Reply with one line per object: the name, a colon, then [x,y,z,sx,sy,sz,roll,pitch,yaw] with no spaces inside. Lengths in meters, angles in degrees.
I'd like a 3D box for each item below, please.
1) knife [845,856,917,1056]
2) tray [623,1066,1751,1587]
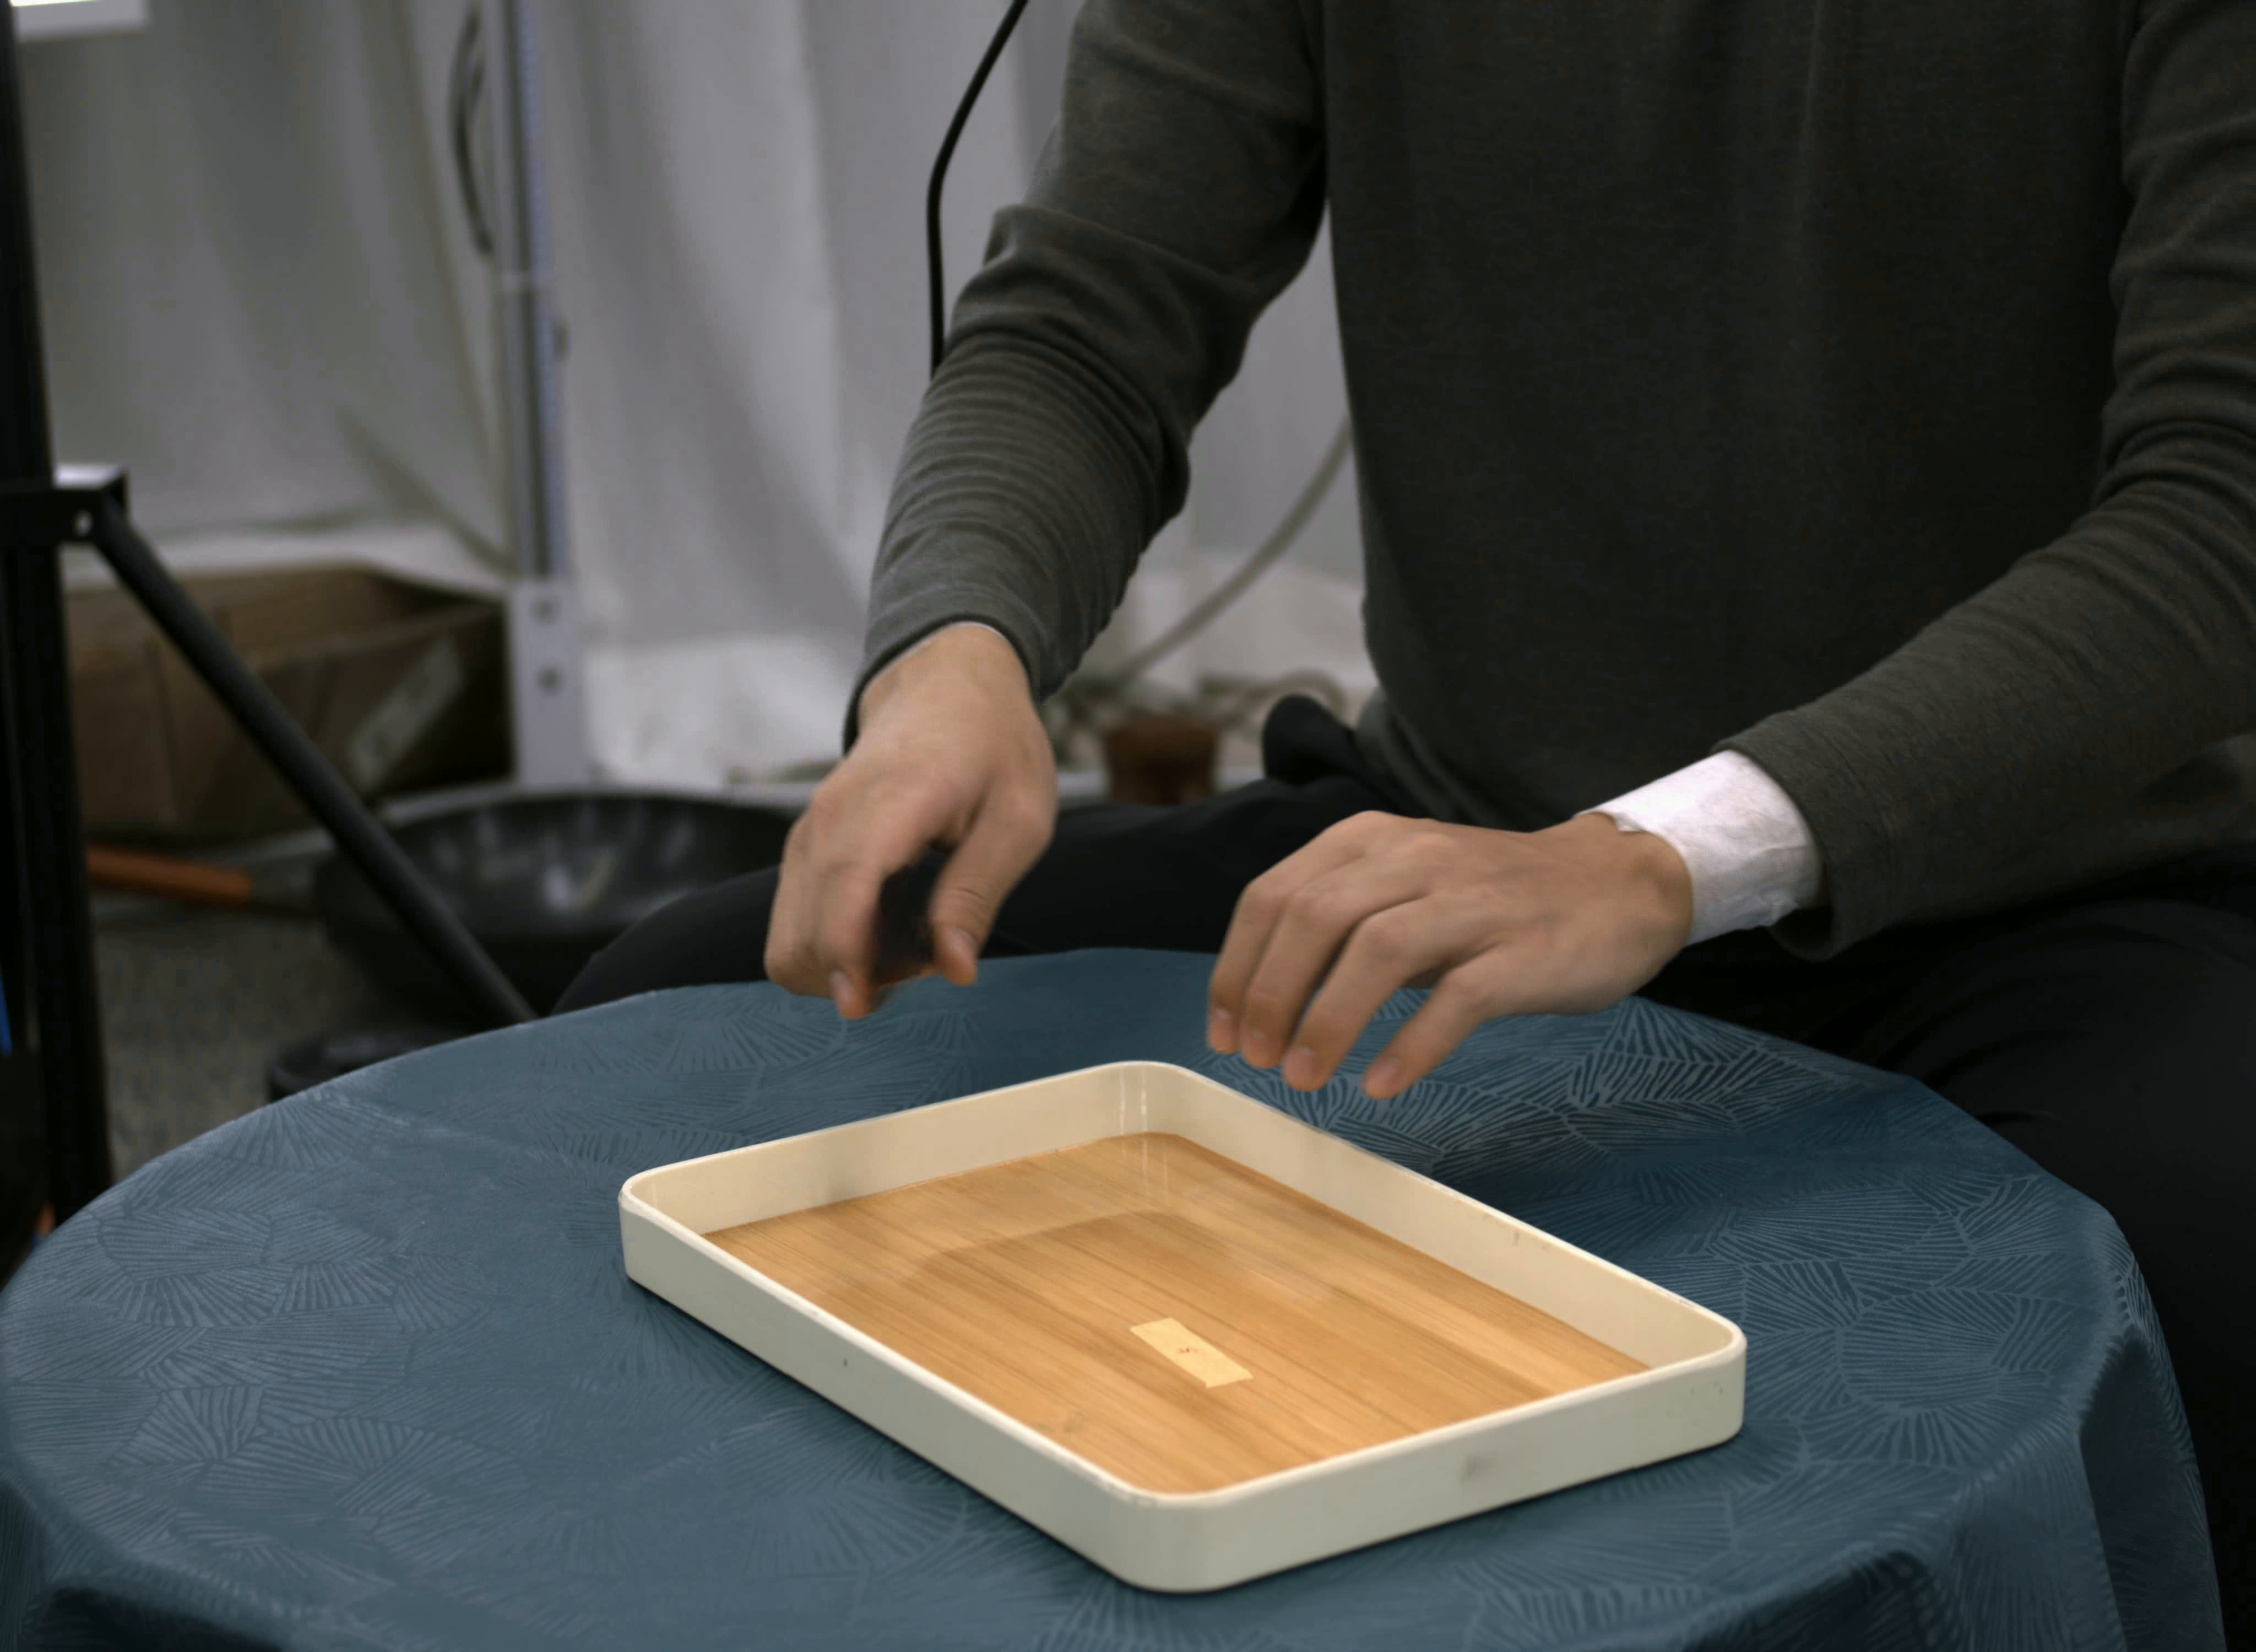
knife: [-0.069,0.036,1.490,0.016,0.024,0.239,-35,9,4]
tray: [0.009,0.129,1.437,0.187,0.027,0.307,-10,18,-29]
